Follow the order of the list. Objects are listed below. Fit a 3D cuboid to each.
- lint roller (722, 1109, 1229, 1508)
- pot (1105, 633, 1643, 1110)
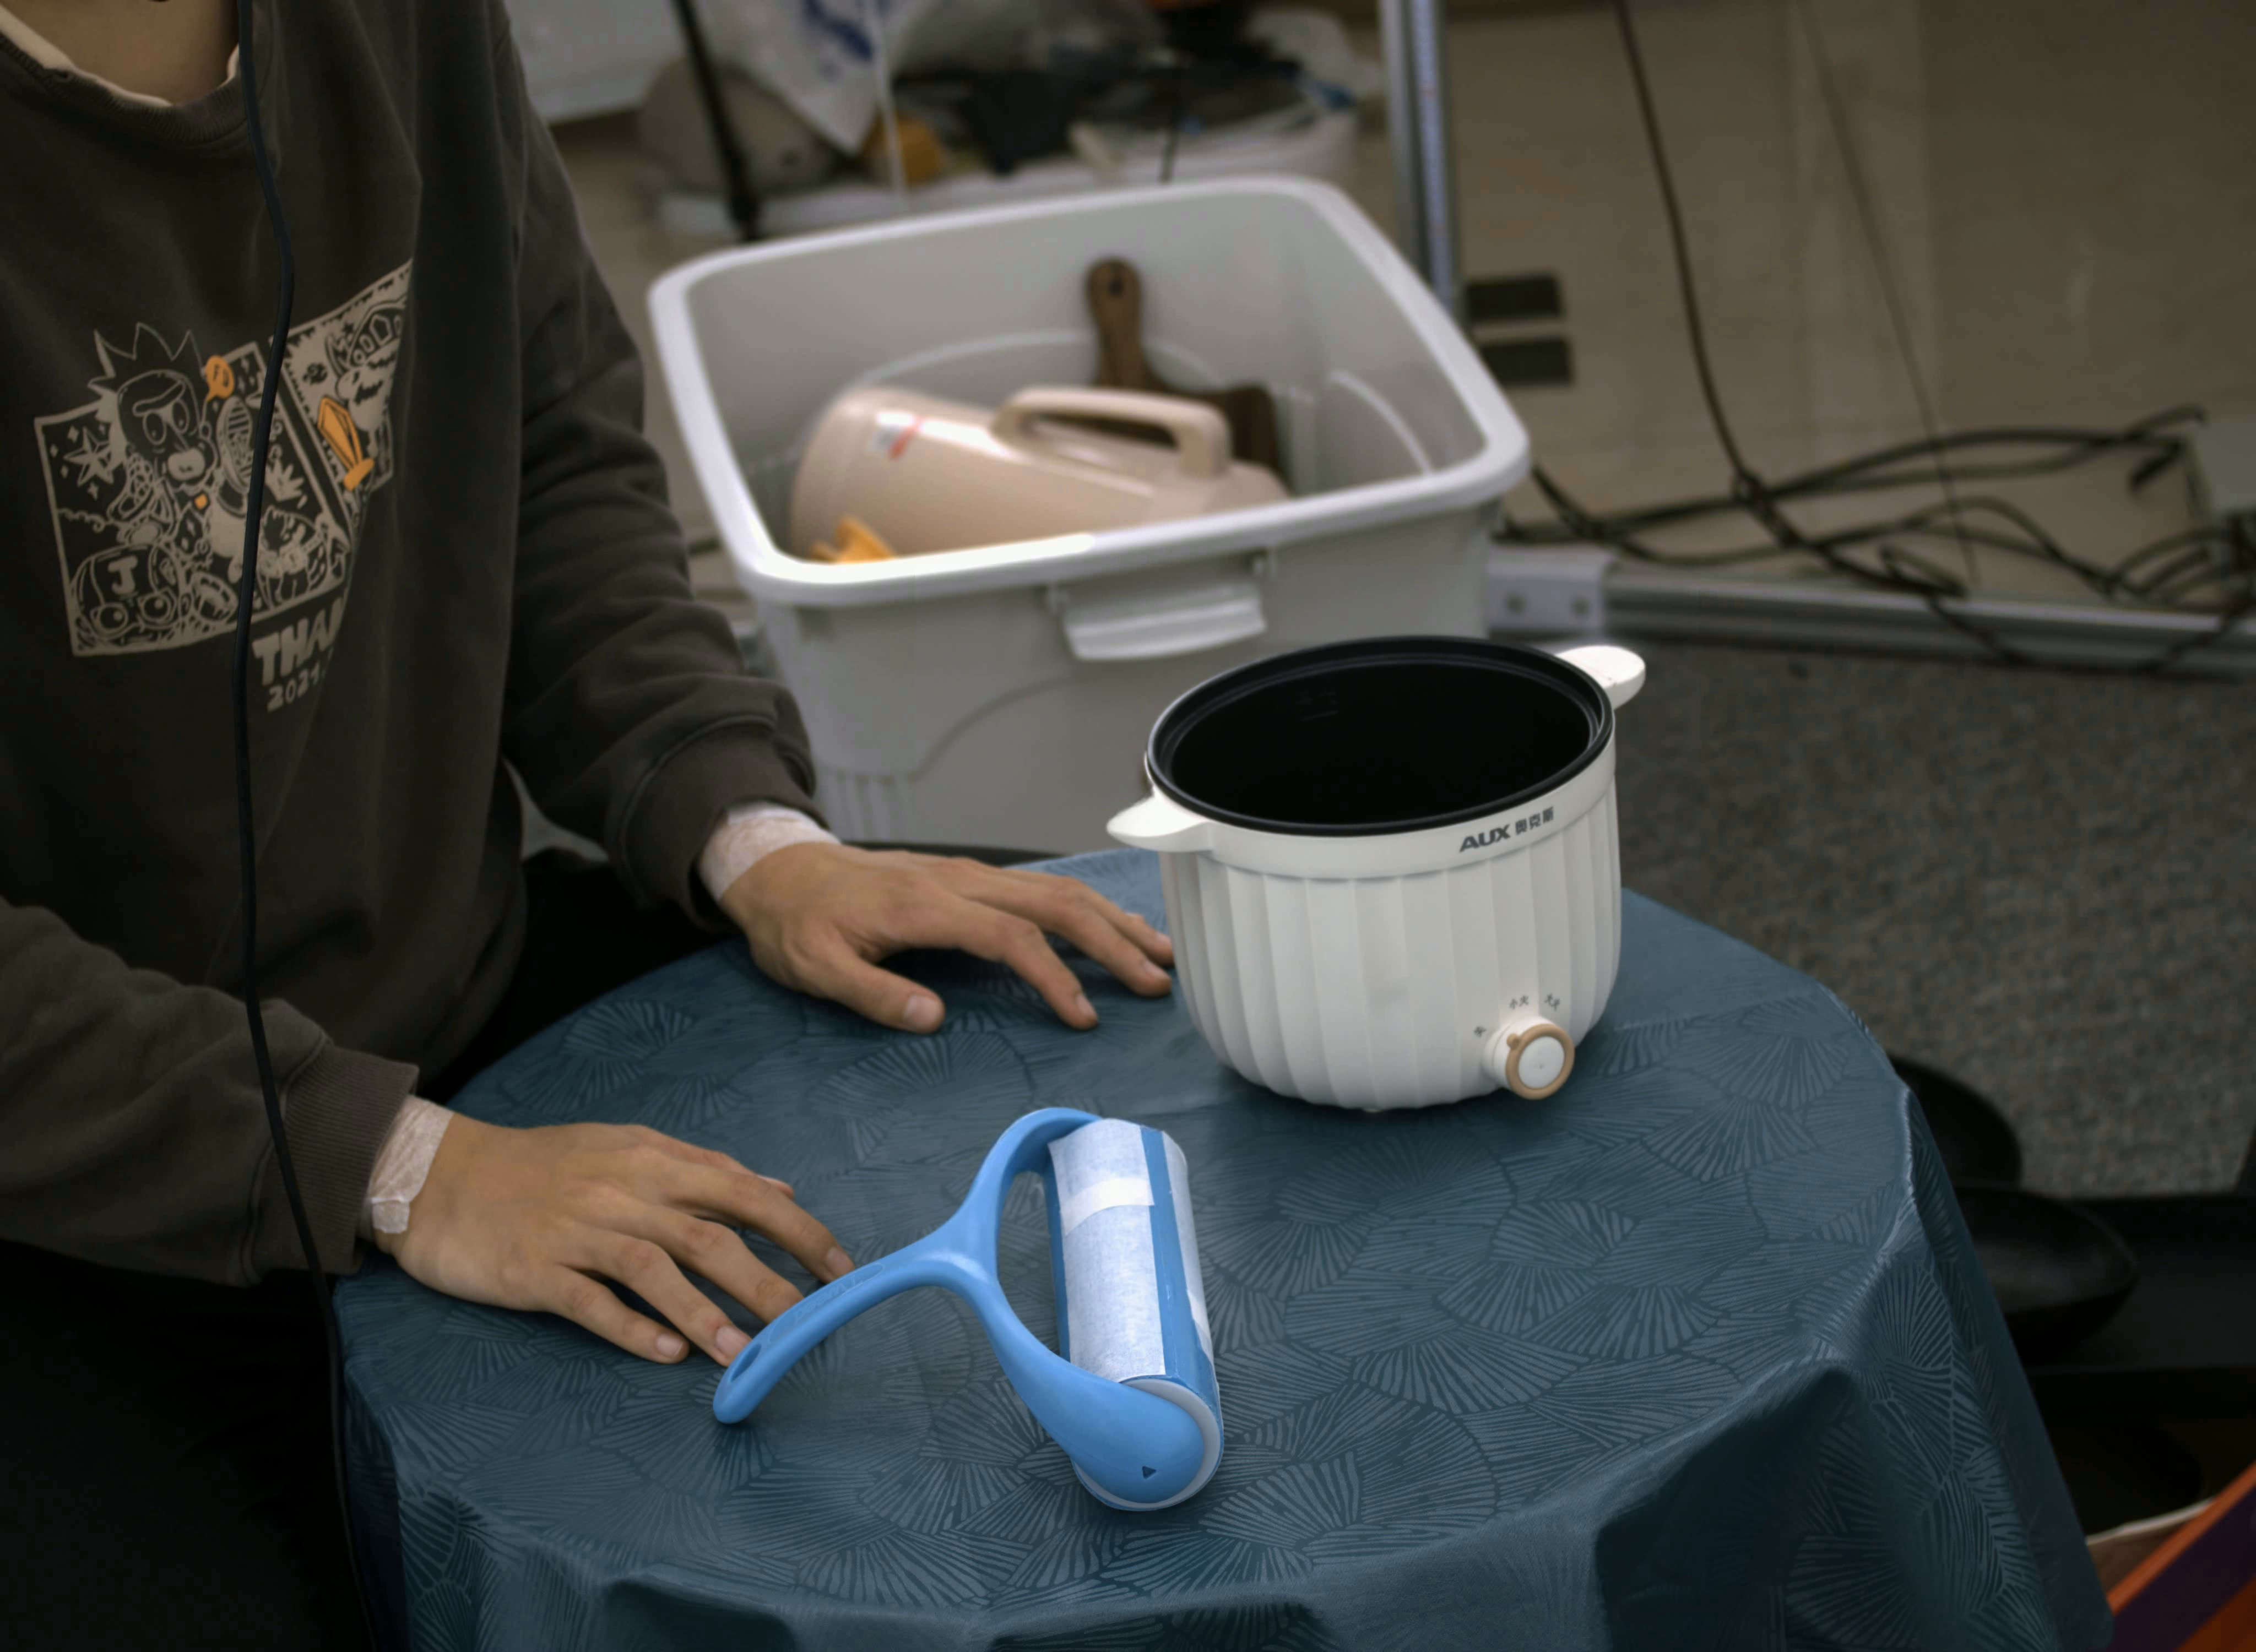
[{"bbox_3d":[-0.057,0.176,2.013,0.180,0.069,0.225,-7,26,-3],"label":"lint roller"},{"bbox_3d":[0.107,0.023,2.202,0.239,0.145,0.188,-20,26,-24],"label":"pot"}]
